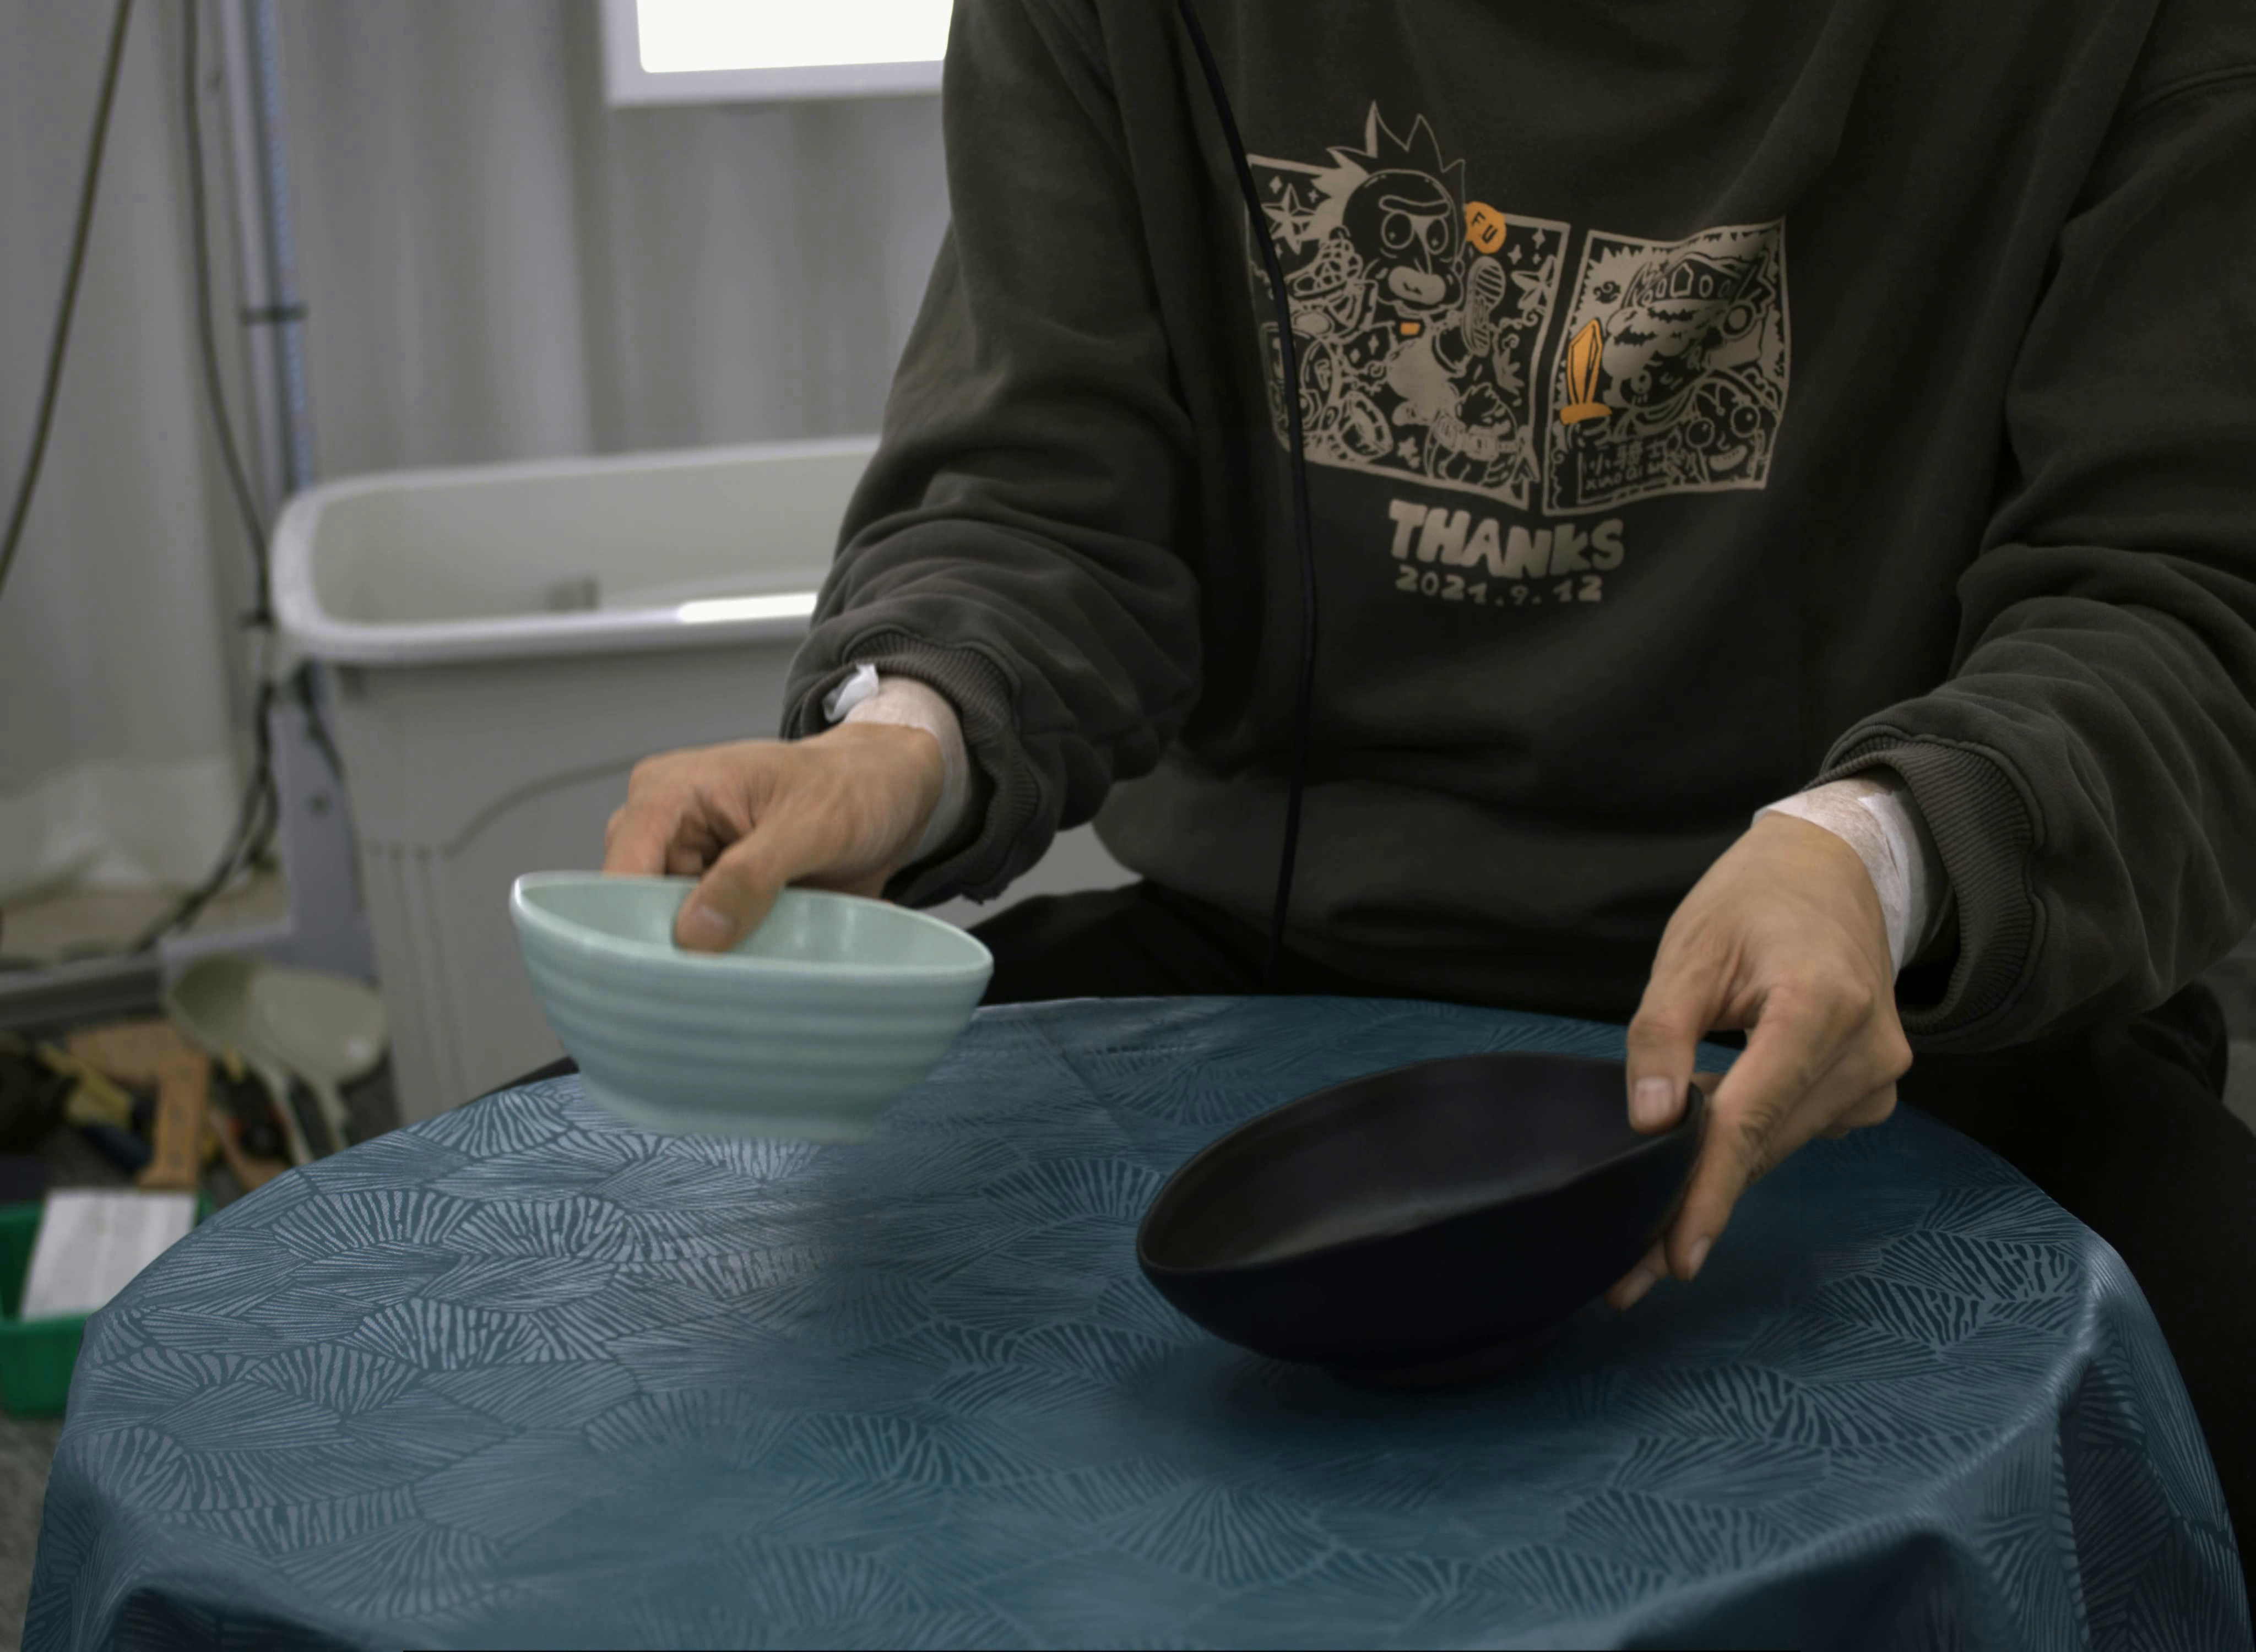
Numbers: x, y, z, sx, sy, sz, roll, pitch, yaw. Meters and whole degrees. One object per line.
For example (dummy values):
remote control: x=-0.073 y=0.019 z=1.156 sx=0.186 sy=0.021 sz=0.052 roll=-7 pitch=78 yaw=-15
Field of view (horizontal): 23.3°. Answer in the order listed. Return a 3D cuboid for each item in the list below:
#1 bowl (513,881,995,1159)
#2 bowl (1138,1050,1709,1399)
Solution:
bowl: x=-0.114 y=0.060 z=1.625 sx=0.151 sy=0.058 sz=0.152 roll=6 pitch=10 yaw=-1
bowl: x=0.088 y=0.120 z=1.551 sx=0.170 sy=0.066 sz=0.138 roll=-16 pitch=15 yaw=-17
